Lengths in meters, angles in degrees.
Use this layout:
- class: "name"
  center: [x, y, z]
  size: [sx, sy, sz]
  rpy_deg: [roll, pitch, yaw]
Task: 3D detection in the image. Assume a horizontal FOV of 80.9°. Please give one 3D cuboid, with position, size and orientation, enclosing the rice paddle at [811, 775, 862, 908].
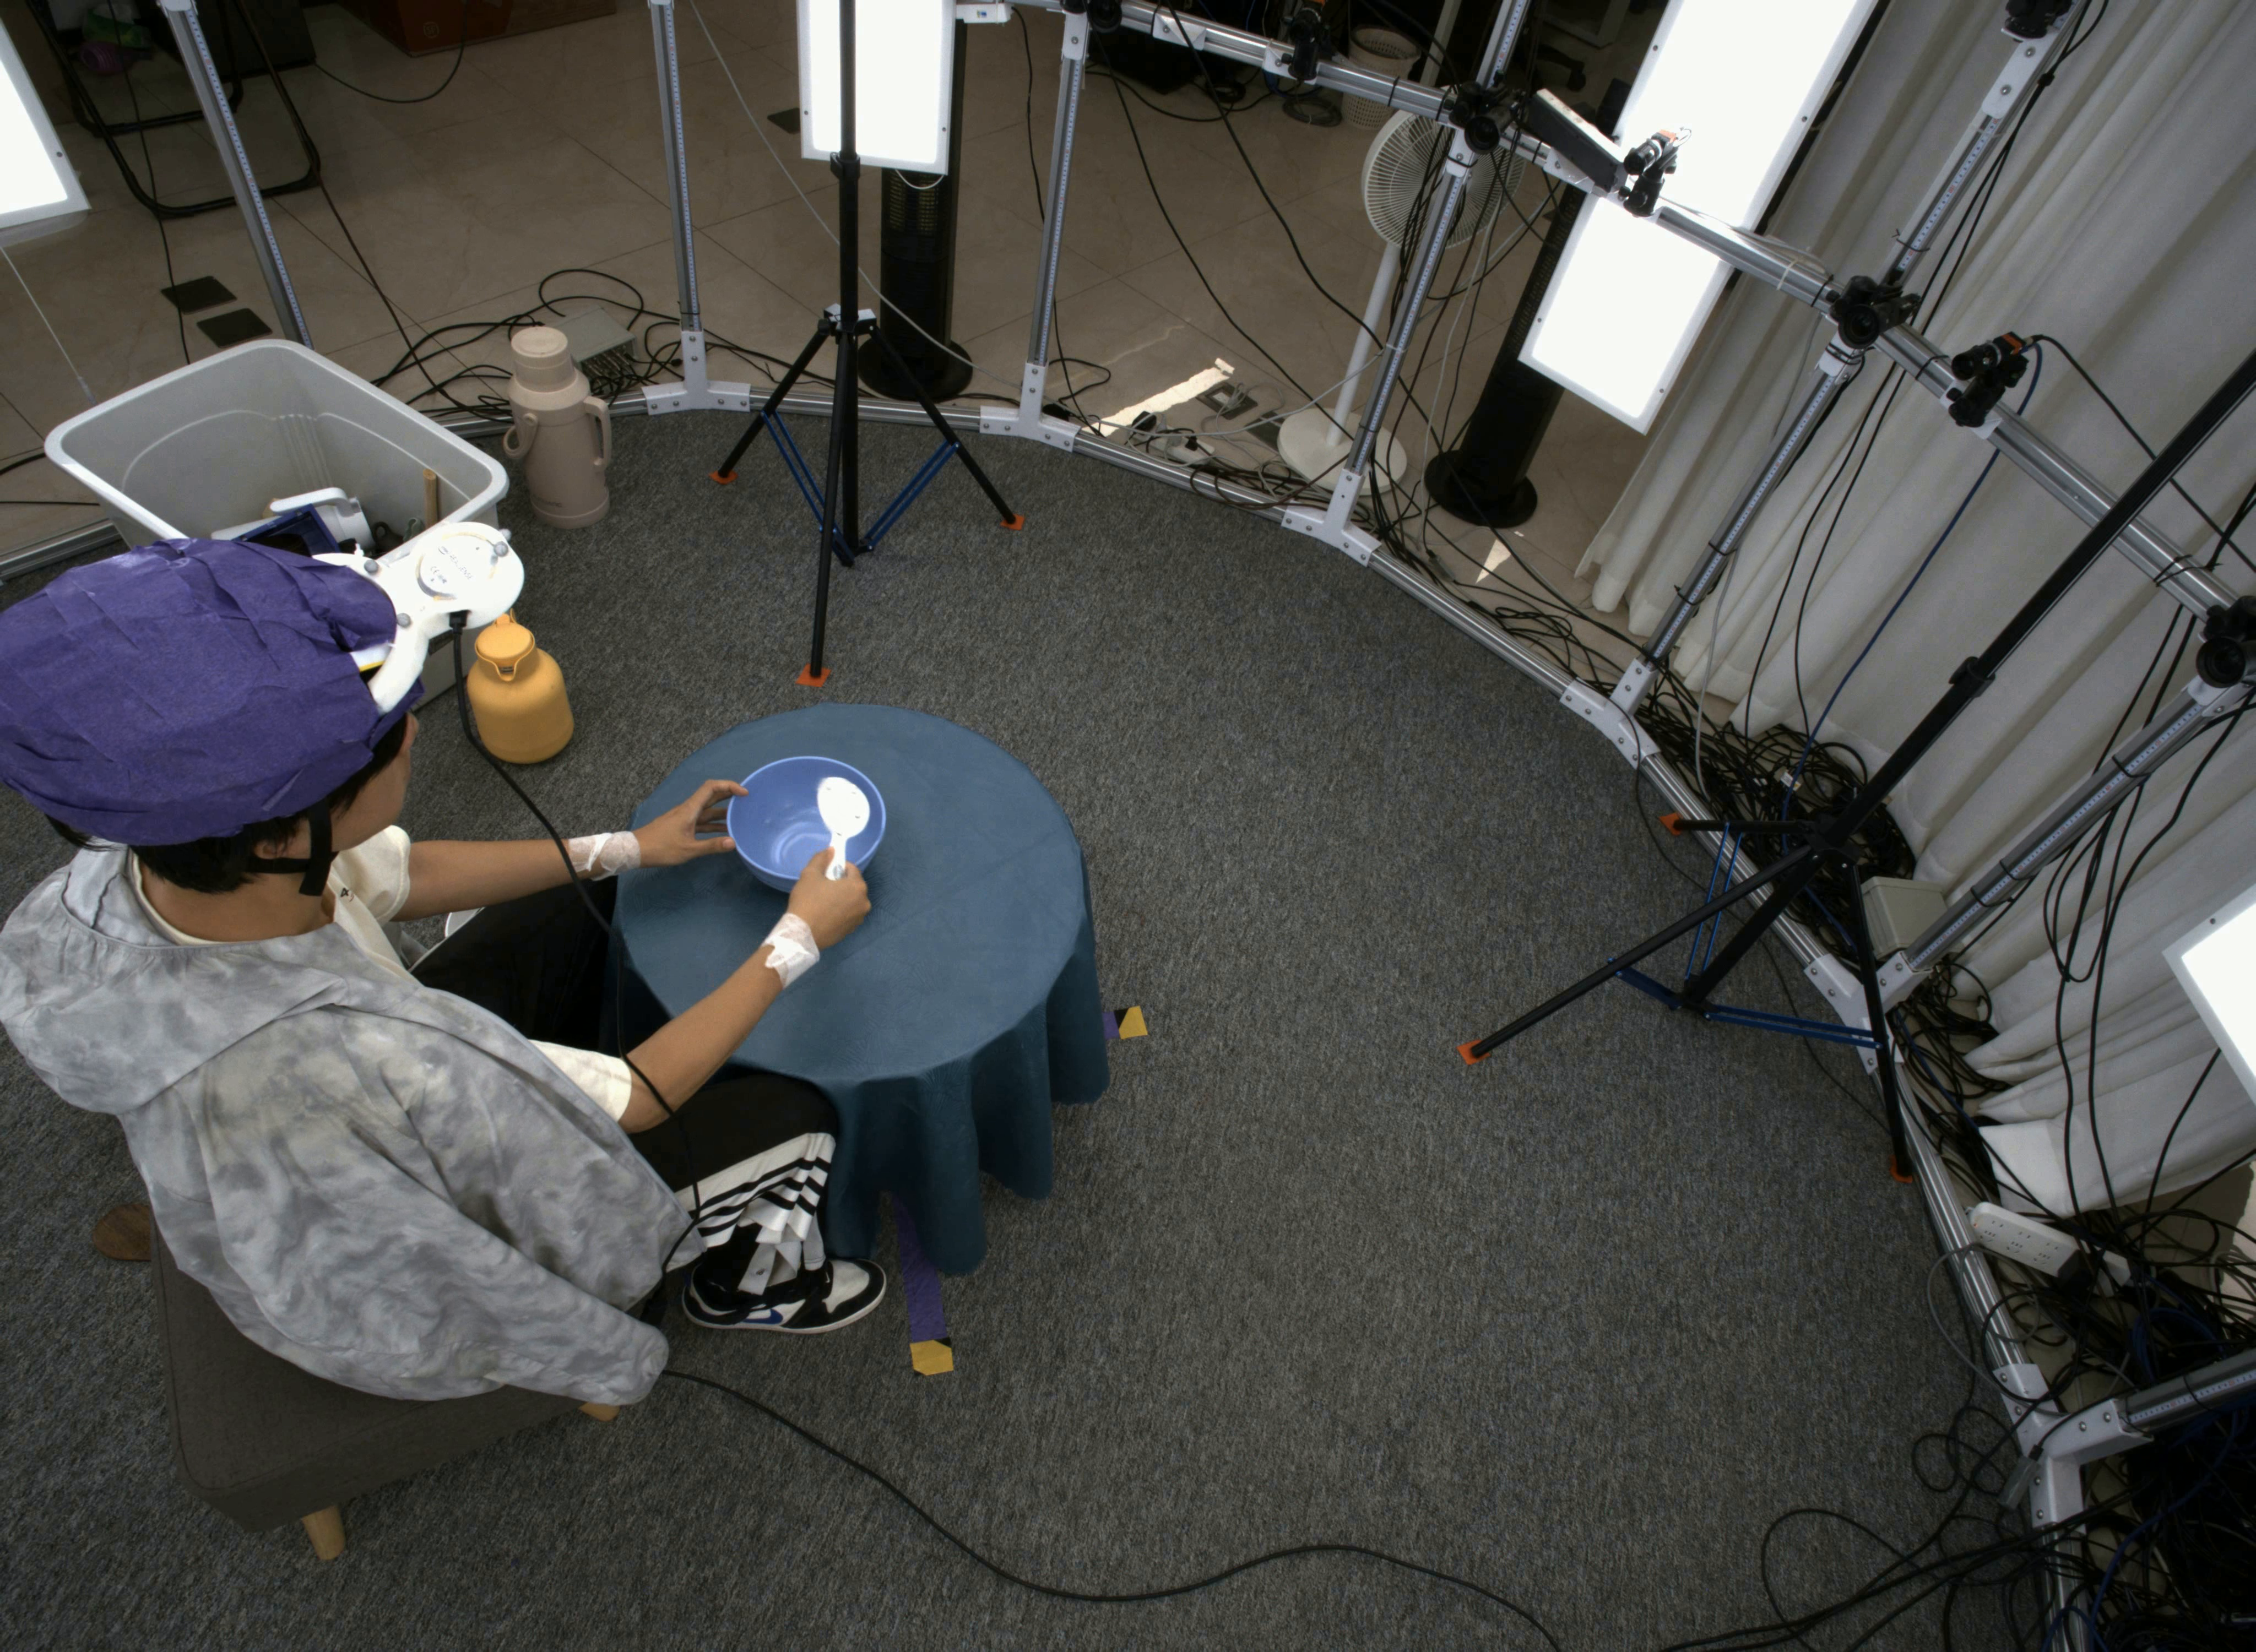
- class: "rice paddle"
  center: [-0.351, 0.009, 1.545]
  size: [0.070, 0.029, 0.200]
  rpy_deg: [25, 38, -29]

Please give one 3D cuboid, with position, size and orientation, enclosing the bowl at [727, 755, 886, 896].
- class: "bowl"
  center: [-0.409, 0.014, 1.657]
  size: [0.196, 0.097, 0.193]
  rpy_deg: [8, 51, -9]
